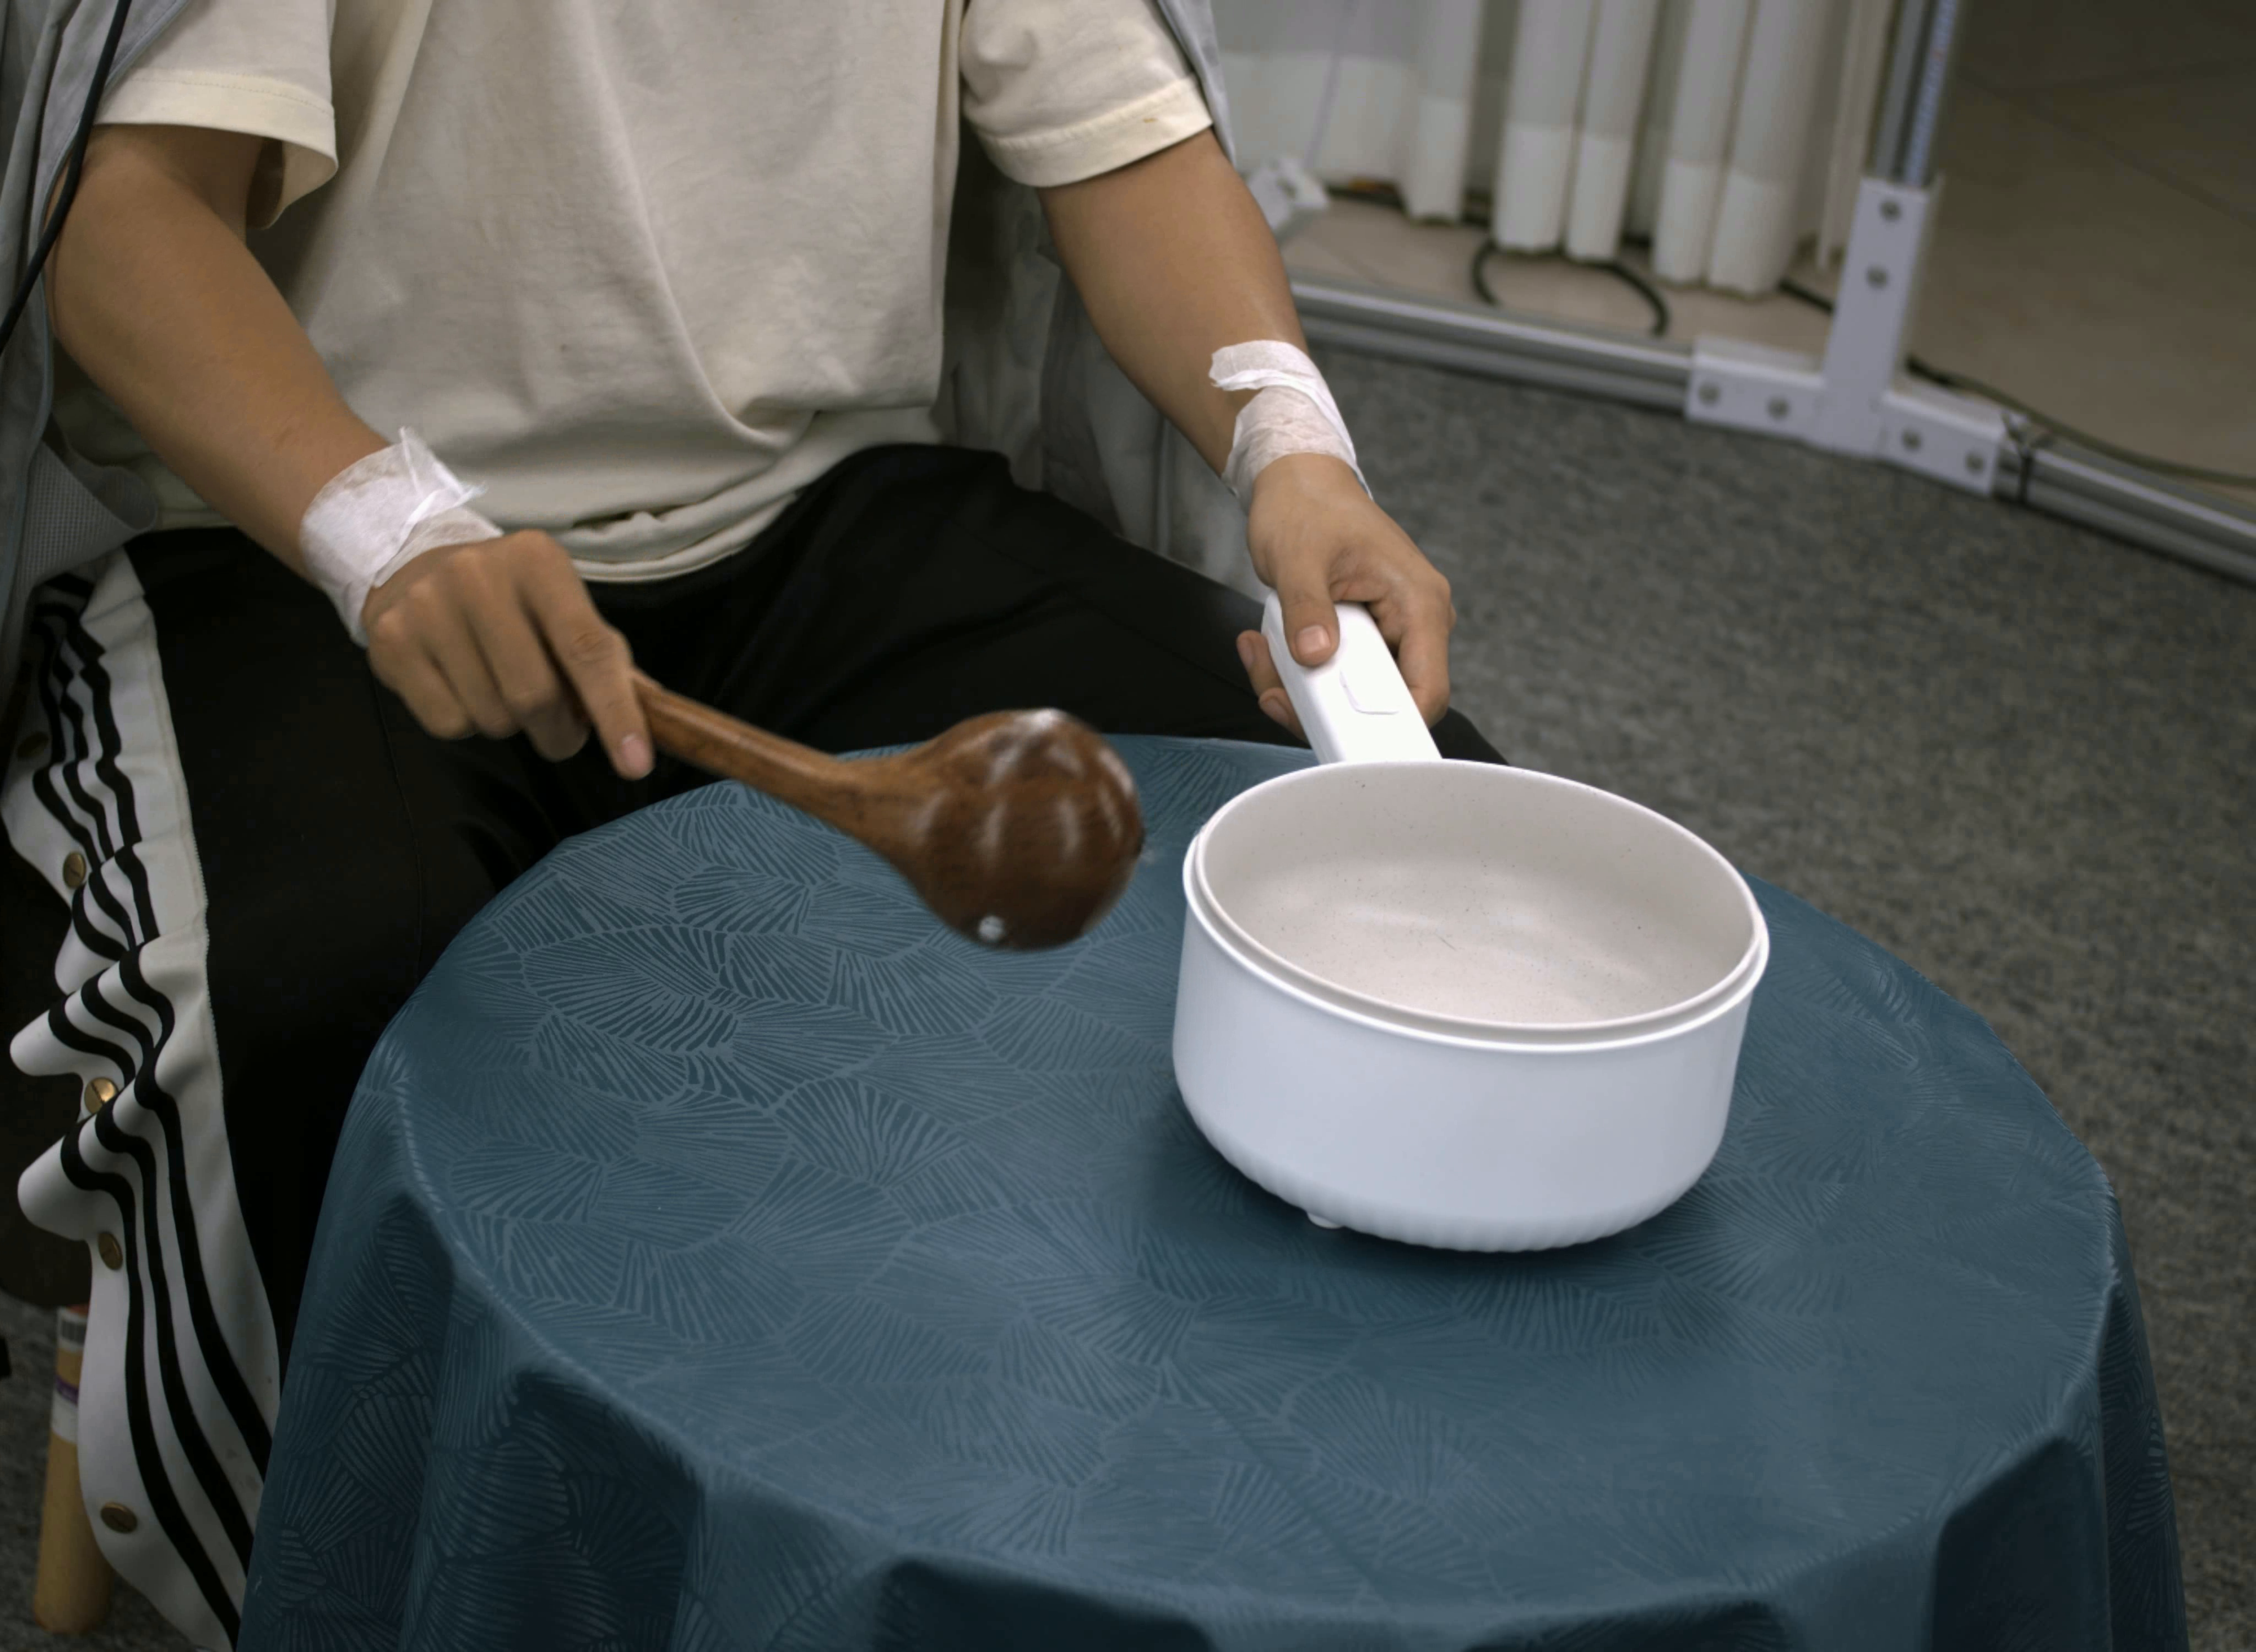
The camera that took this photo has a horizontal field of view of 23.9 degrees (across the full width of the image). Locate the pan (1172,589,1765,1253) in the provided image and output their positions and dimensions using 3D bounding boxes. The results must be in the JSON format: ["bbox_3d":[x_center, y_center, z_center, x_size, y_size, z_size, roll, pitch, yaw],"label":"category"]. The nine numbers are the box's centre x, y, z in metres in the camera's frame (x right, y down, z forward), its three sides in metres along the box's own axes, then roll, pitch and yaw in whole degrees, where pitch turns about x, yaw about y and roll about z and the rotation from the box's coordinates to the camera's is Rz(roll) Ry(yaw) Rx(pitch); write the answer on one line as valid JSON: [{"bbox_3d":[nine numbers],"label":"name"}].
[{"bbox_3d":[0.100,0.031,1.902,0.200,0.102,0.357,0,27,-11],"label":"pan"}]

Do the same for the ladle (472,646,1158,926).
[{"bbox_3d":[-0.106,-0.029,1.797,0.276,0.082,0.076,15,6,43],"label":"ladle"}]
